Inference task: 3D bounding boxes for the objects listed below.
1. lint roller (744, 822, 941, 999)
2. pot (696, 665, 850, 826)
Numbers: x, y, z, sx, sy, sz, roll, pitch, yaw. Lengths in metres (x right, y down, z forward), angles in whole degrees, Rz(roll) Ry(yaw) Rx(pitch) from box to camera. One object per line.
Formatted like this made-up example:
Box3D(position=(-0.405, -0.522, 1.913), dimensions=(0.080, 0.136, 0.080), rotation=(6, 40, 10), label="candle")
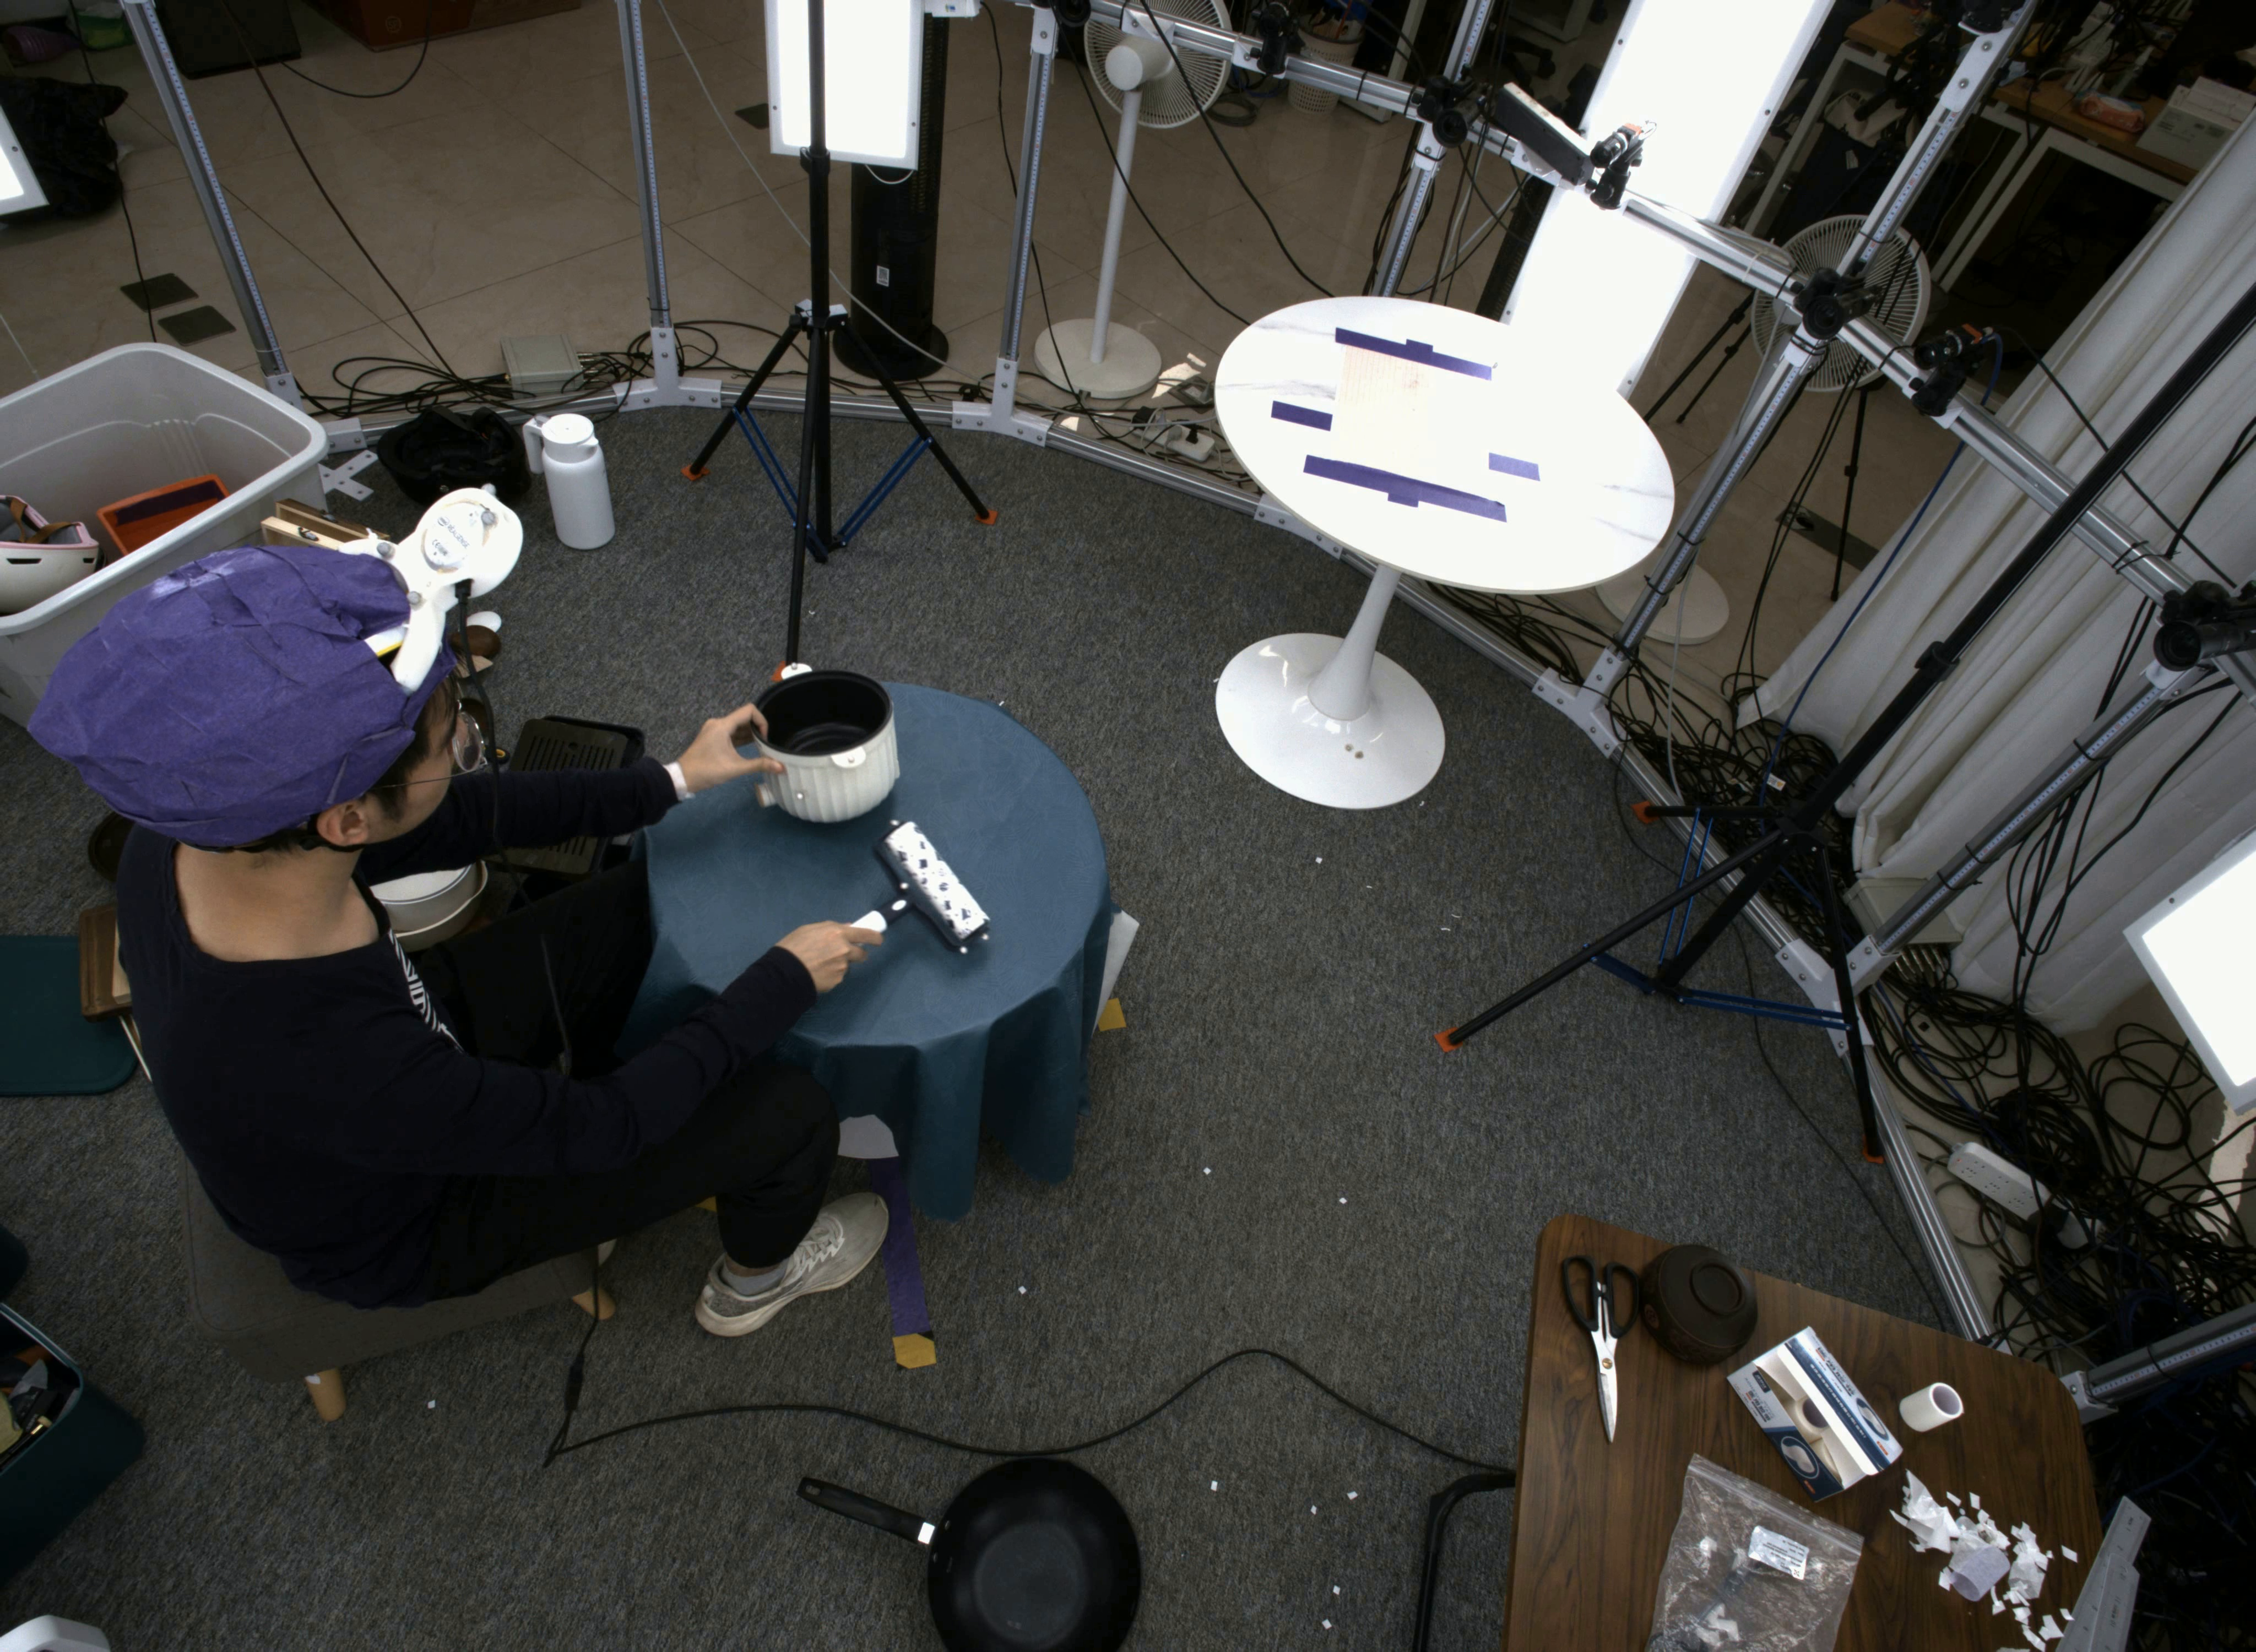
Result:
Box3D(position=(-0.364, 0.123, 1.573), dimensions=(0.177, 0.050, 0.247), rotation=(49, 54, -1), label="lint roller")
Box3D(position=(-0.461, -0.094, 1.678), dimensions=(0.191, 0.147, 0.232), rotation=(-21, 46, -27), label="pot")
